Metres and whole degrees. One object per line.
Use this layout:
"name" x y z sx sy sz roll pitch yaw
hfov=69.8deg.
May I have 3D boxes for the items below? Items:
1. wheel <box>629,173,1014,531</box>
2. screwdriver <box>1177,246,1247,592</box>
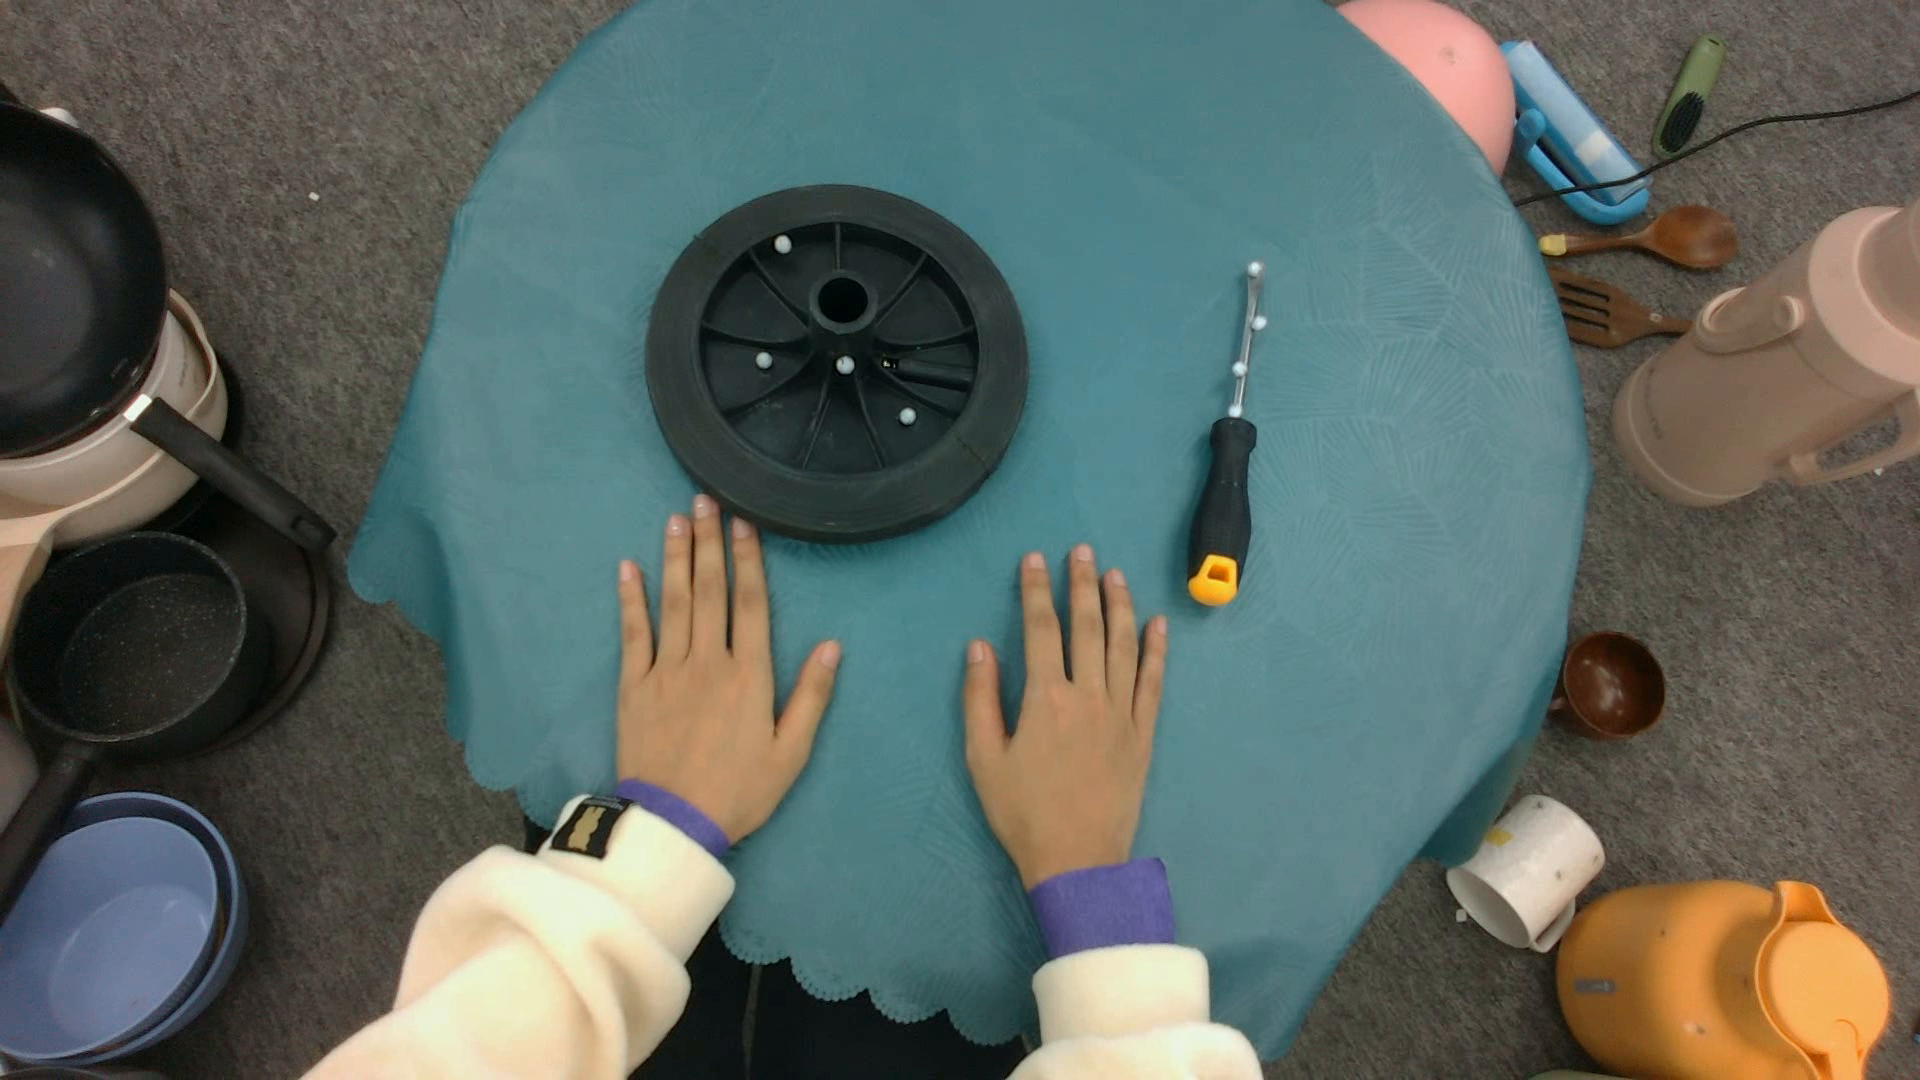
"wheel" -0.063 -0.102 0.662 0.190 0.079 0.188 -13 75 -14
"screwdriver" 0.137 -0.066 0.703 0.031 0.031 0.198 15 68 -2
